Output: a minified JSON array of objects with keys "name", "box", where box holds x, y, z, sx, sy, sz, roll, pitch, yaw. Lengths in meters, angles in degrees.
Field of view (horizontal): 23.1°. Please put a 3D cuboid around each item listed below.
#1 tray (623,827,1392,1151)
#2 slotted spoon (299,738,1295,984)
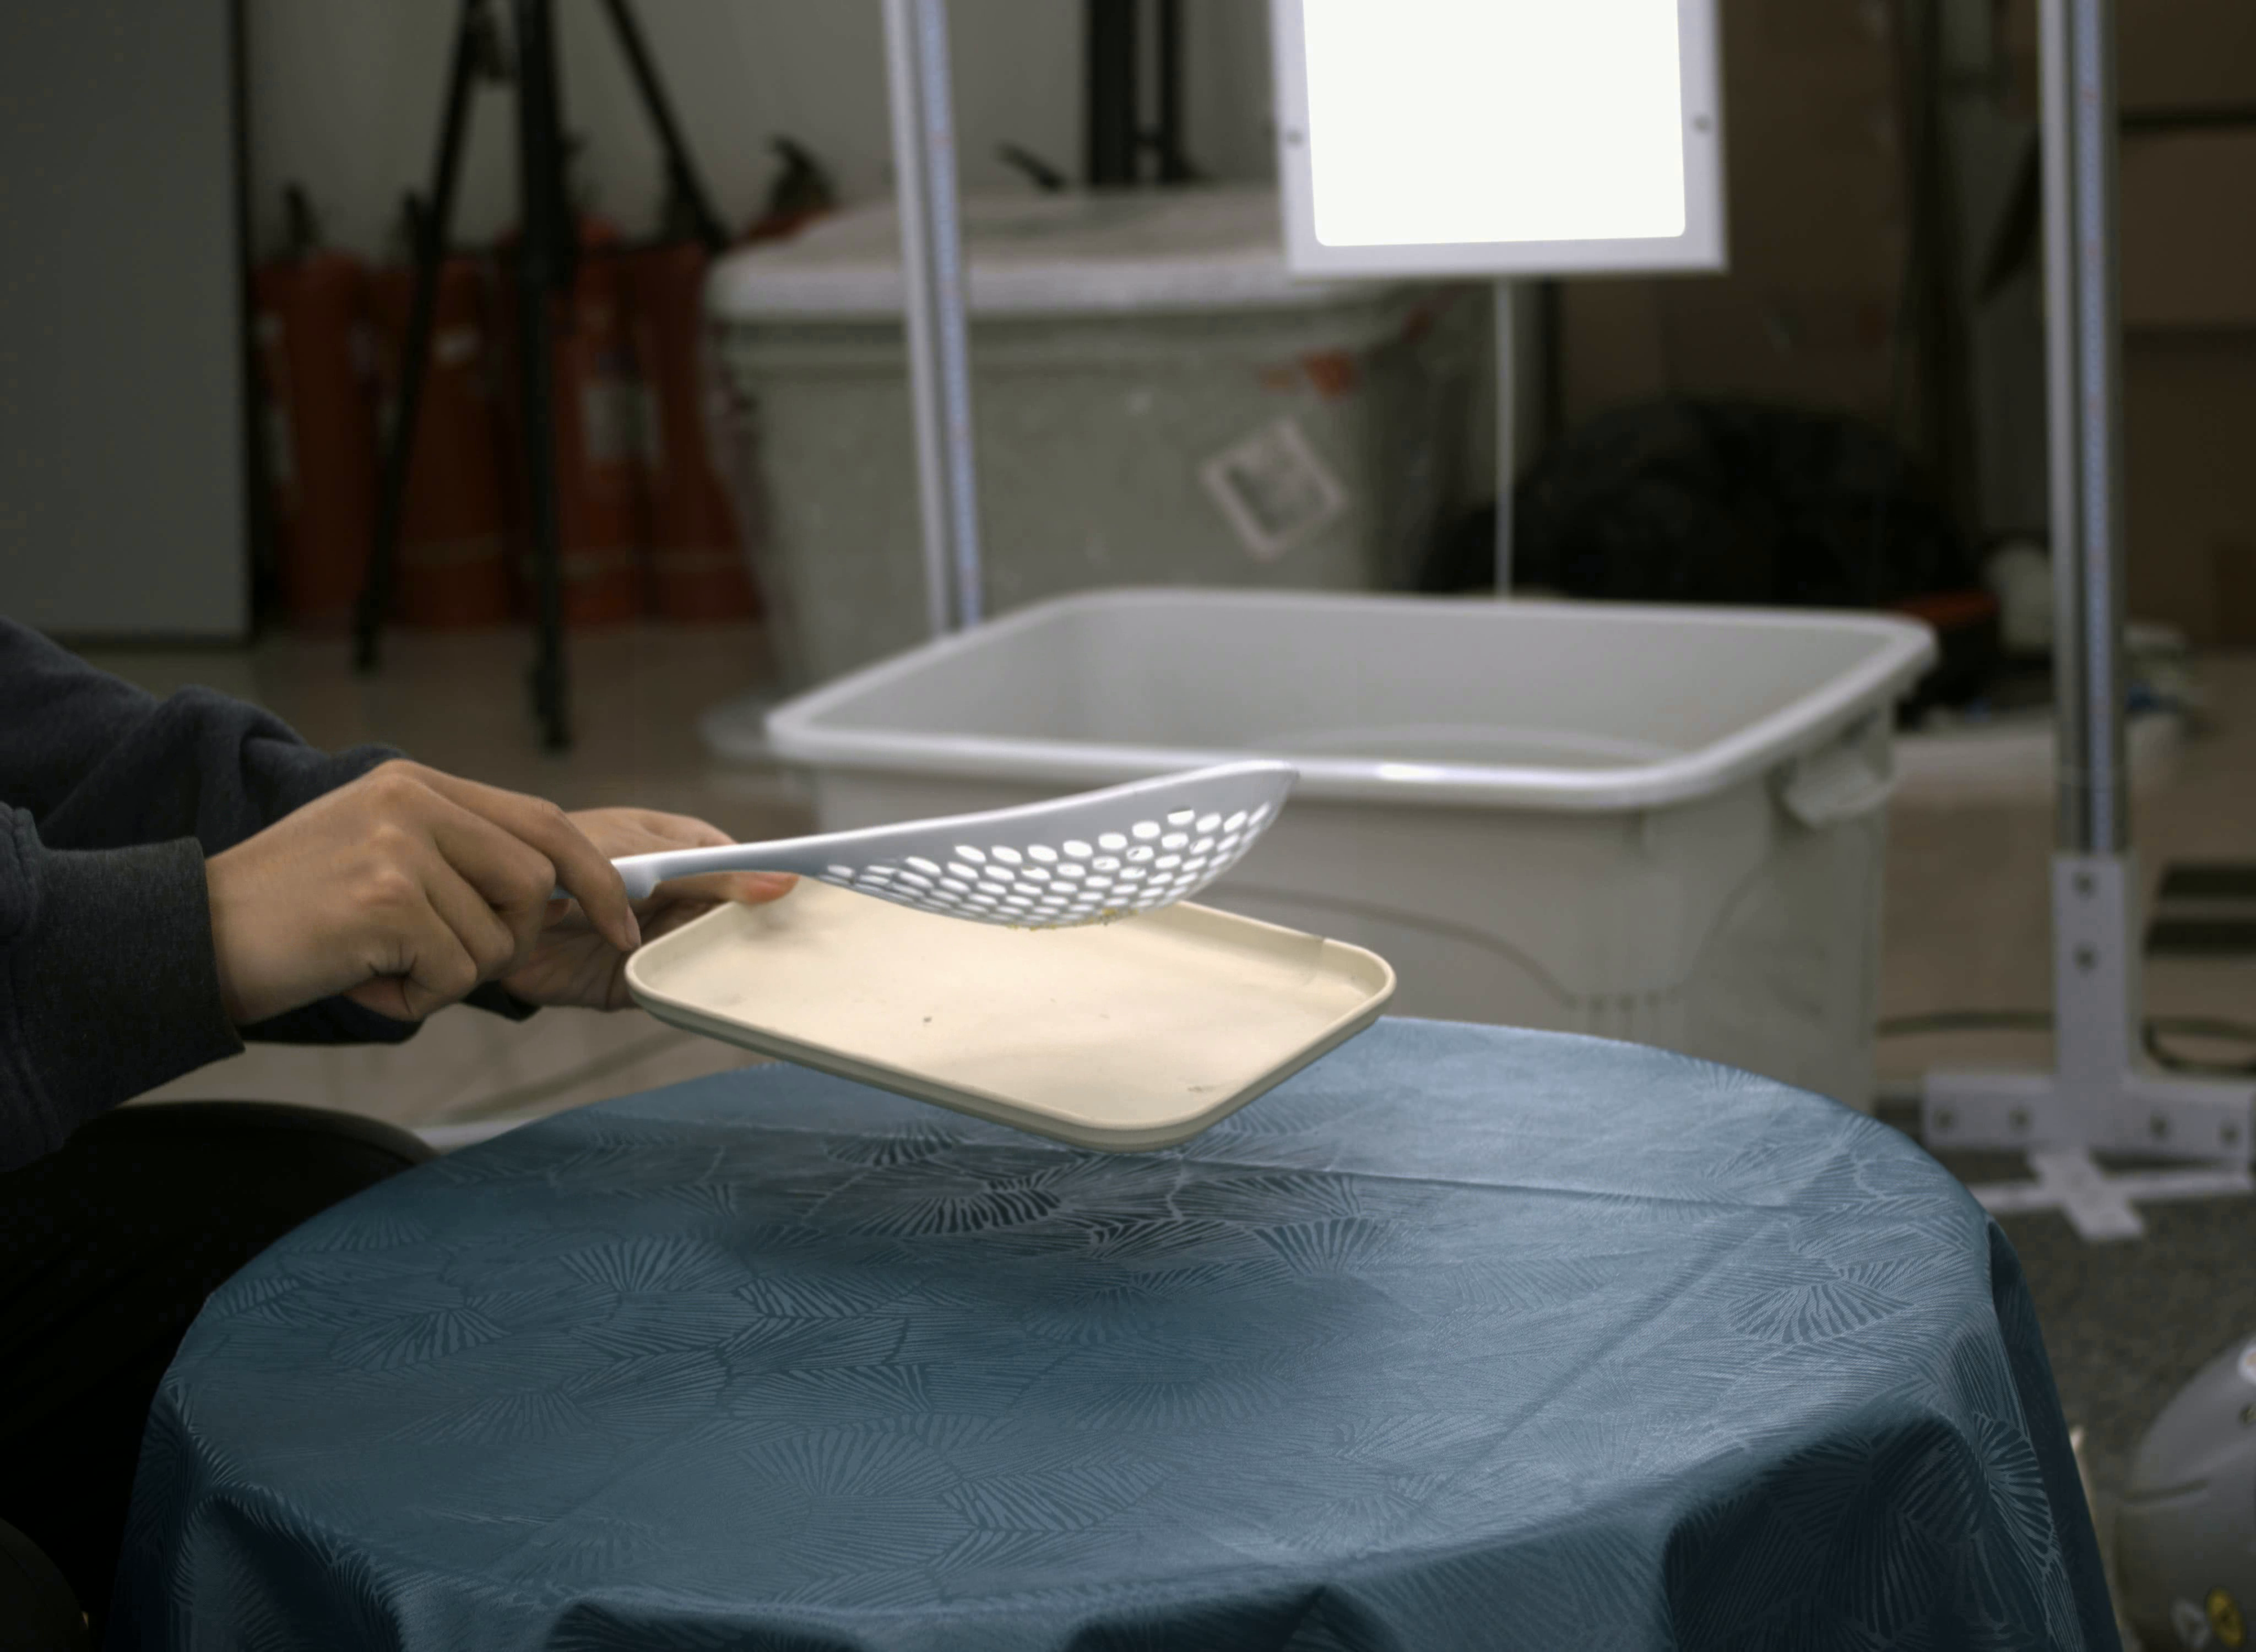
[{"name":"tray","box":[-0.042,0.055,1.902,0.244,0.017,0.167,14,28,34]},{"name":"slotted spoon","box":[-0.104,0.015,1.747,0.340,0.050,0.139,-4,-9,-28]}]
